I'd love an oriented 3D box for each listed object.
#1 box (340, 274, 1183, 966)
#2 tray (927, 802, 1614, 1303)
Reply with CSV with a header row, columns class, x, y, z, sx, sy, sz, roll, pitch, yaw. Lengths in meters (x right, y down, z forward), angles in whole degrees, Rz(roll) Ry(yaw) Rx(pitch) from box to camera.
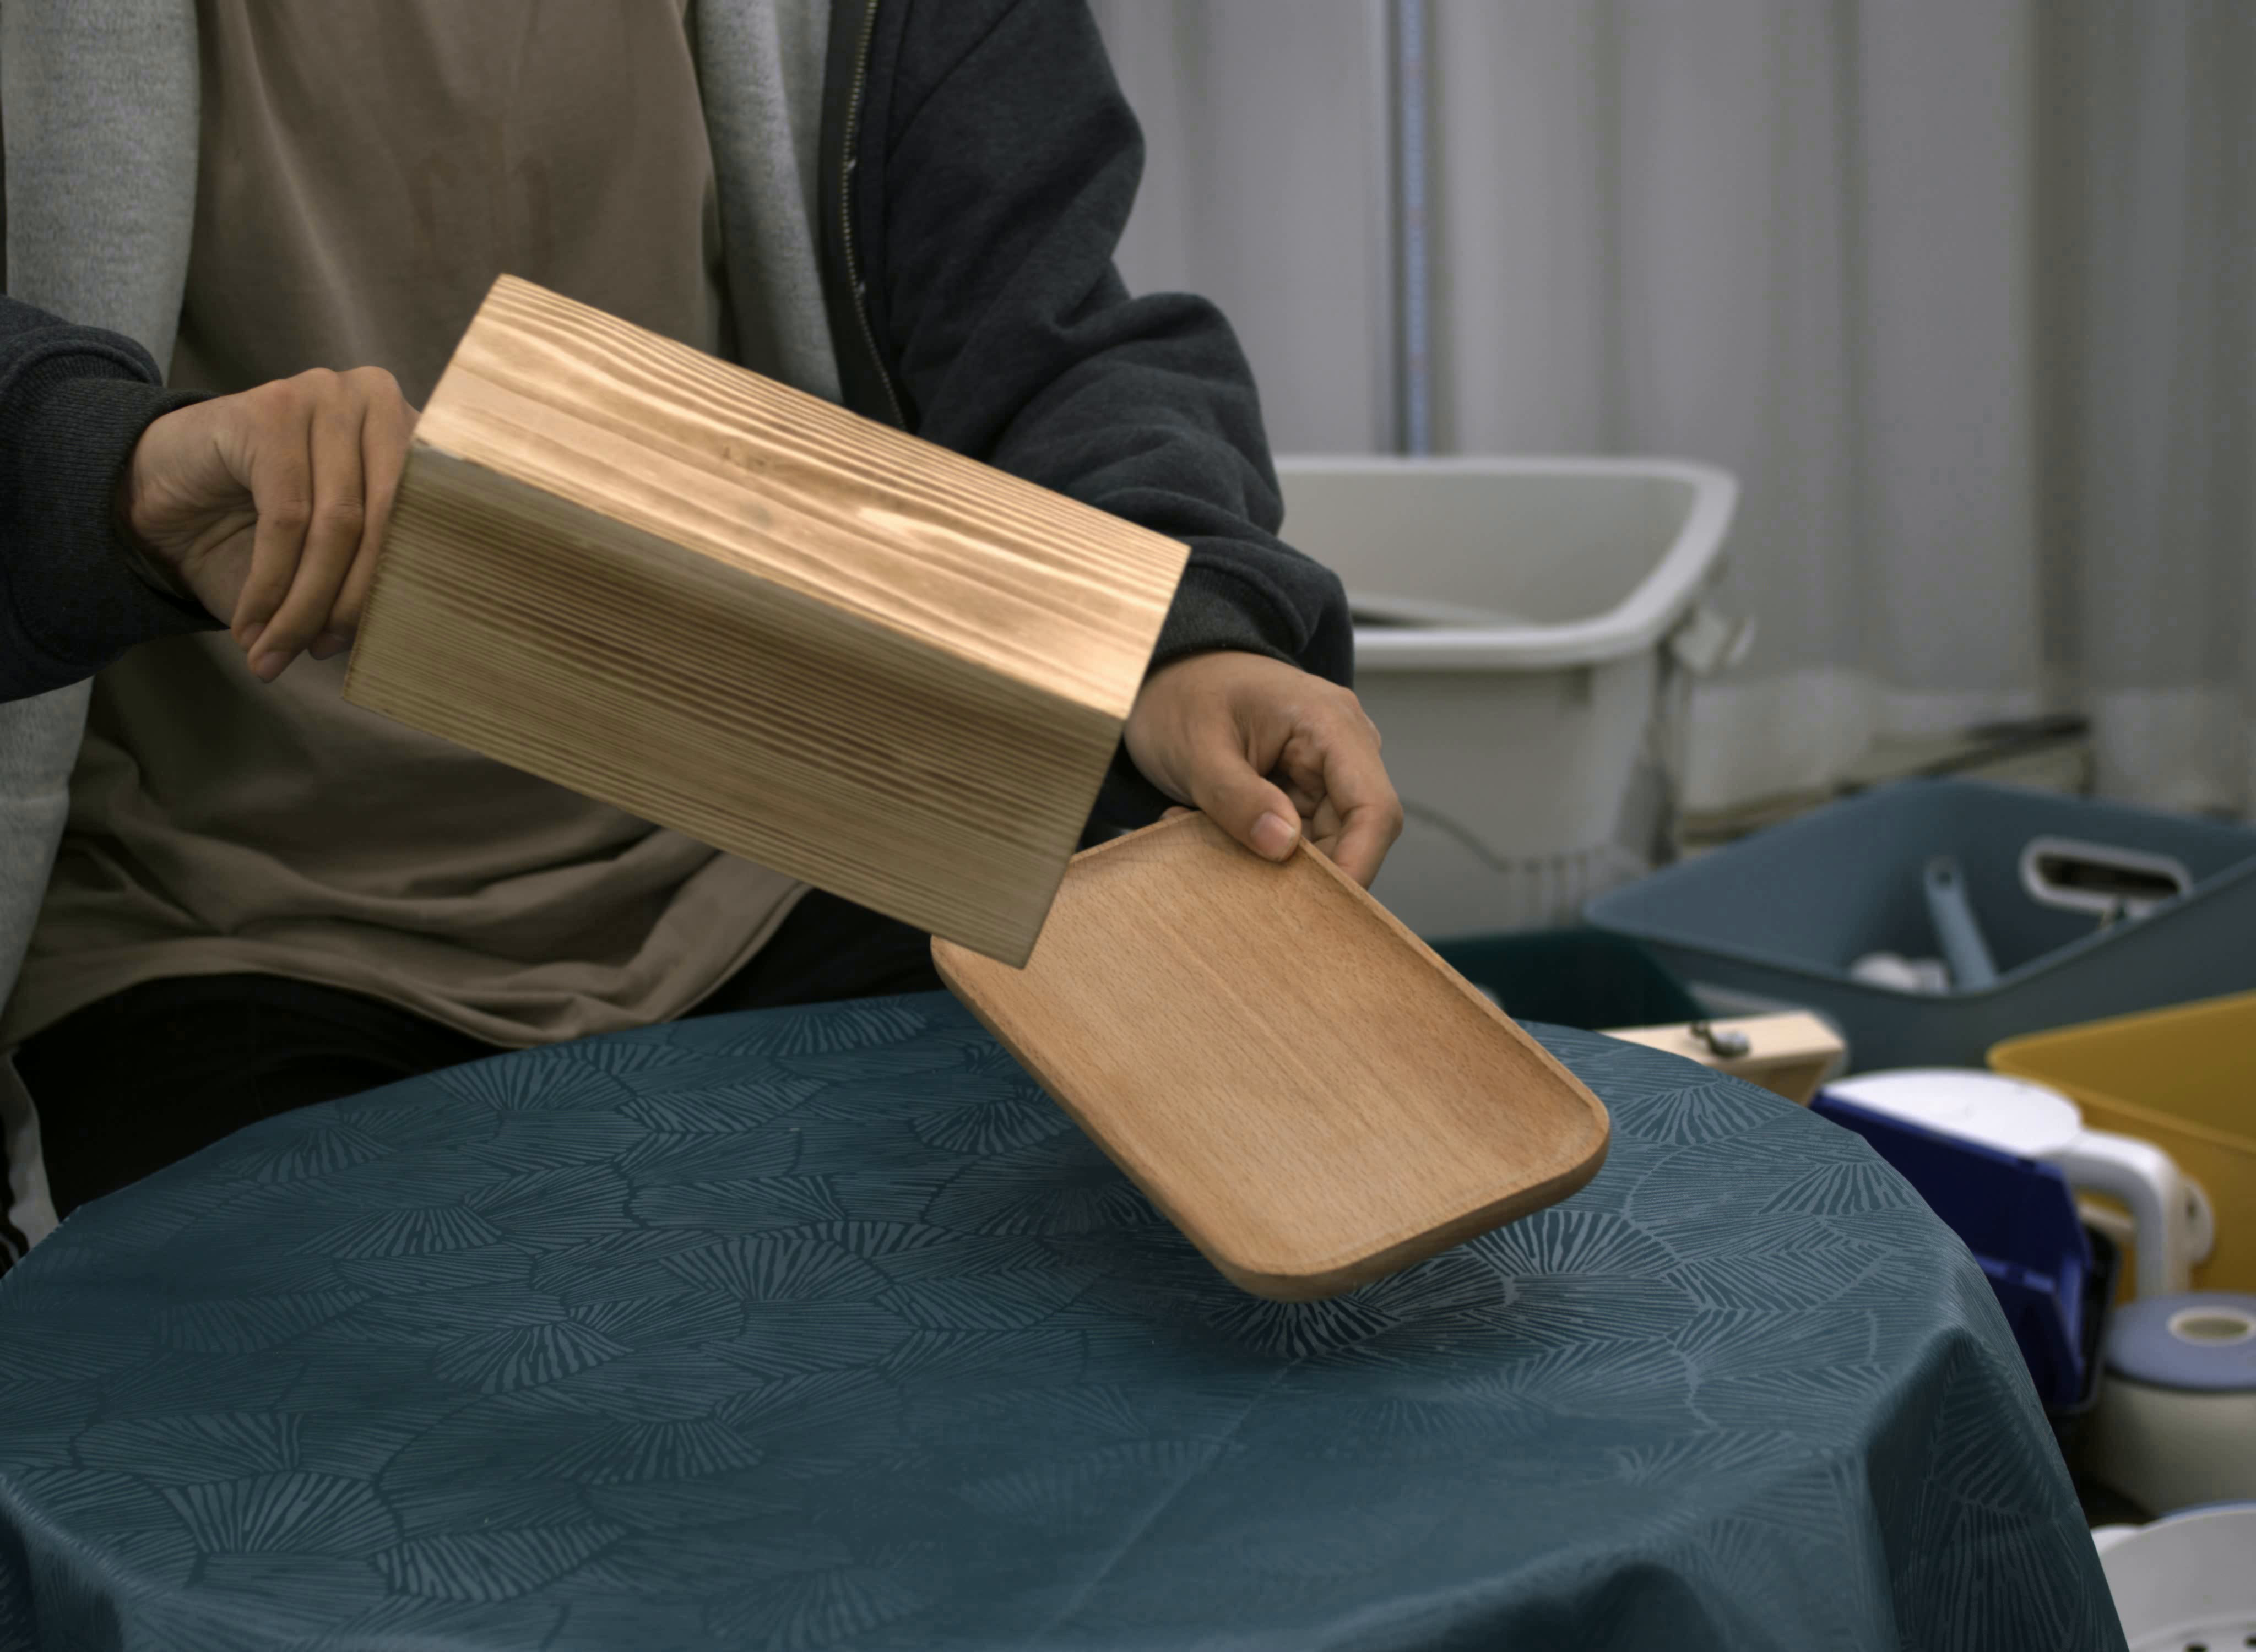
class,x,y,z,sx,sy,sz,roll,pitch,yaw
box,-0.105,-0.058,1.553,0.211,0.106,0.081,22,43,0
tray,0.039,0.065,1.655,0.130,0.022,0.254,-18,31,-19
